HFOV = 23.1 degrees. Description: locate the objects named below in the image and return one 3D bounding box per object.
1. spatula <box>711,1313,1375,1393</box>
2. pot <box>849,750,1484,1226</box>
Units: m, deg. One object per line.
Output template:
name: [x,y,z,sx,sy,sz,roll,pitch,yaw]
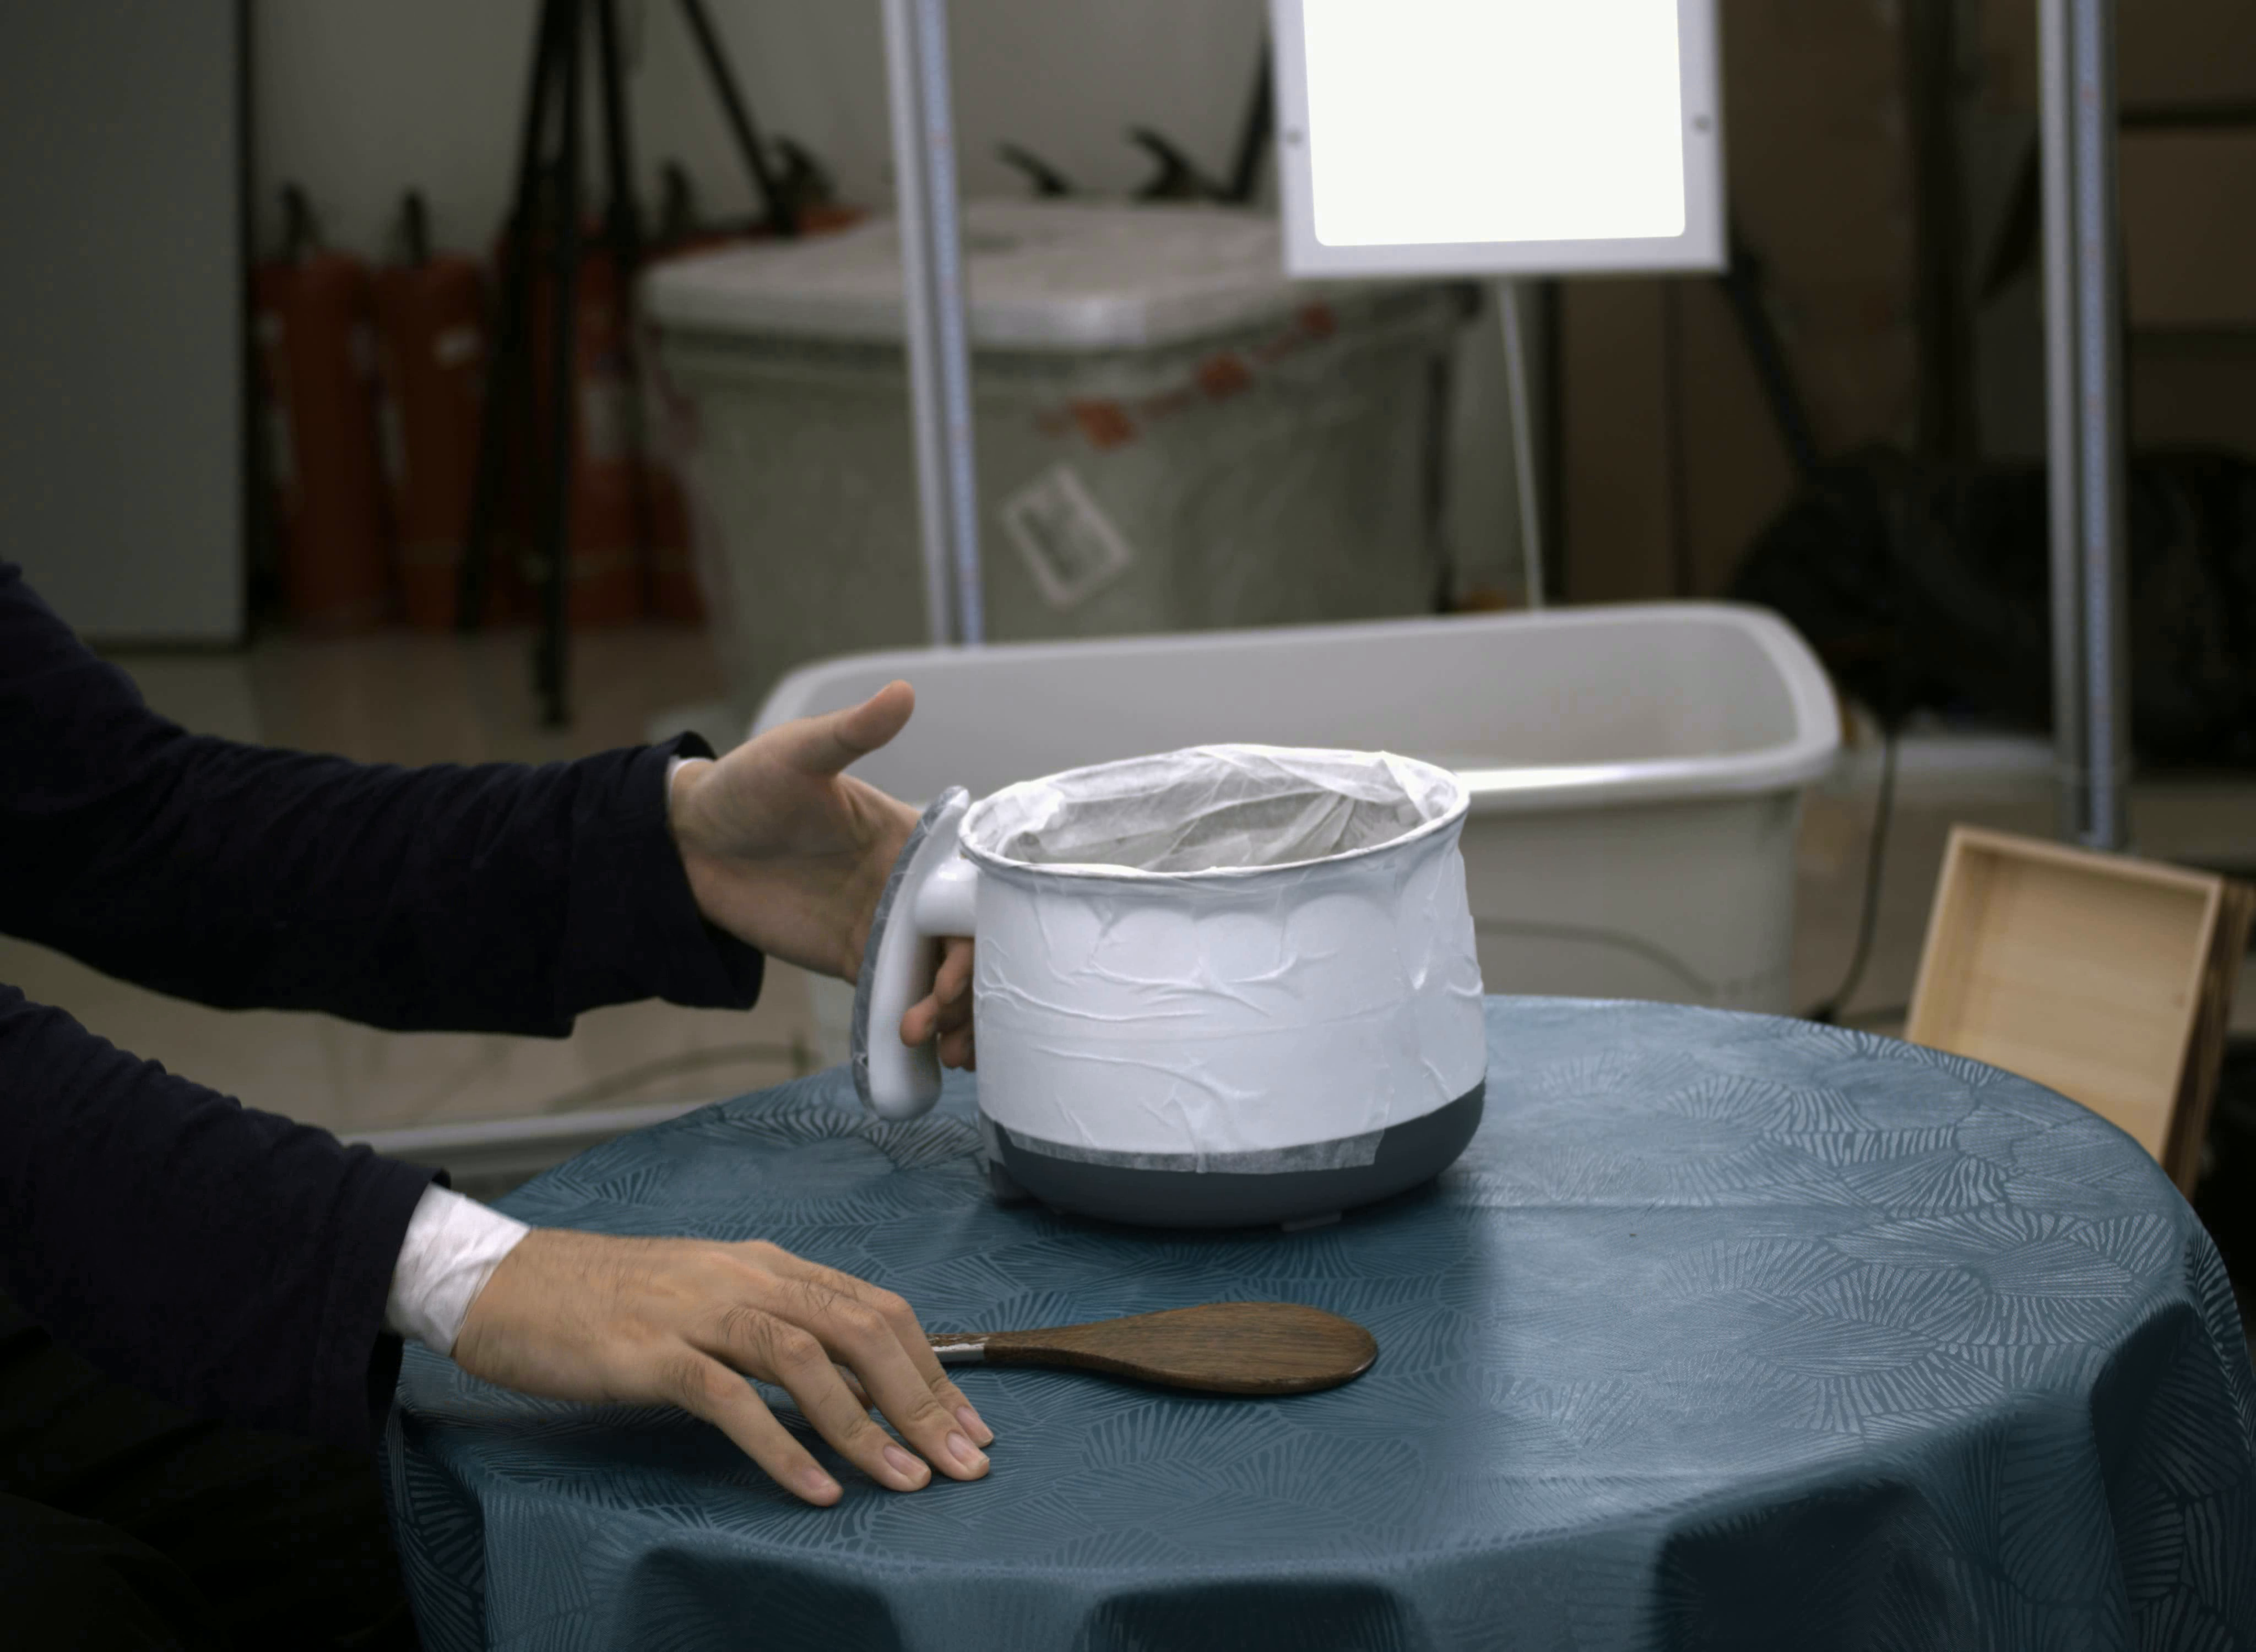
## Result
spatula: [-0.028,0.167,1.737,0.218,0.009,0.071,-2,13,16]
pot: [0.009,0.052,1.906,0.237,0.137,0.175,3,13,25]
